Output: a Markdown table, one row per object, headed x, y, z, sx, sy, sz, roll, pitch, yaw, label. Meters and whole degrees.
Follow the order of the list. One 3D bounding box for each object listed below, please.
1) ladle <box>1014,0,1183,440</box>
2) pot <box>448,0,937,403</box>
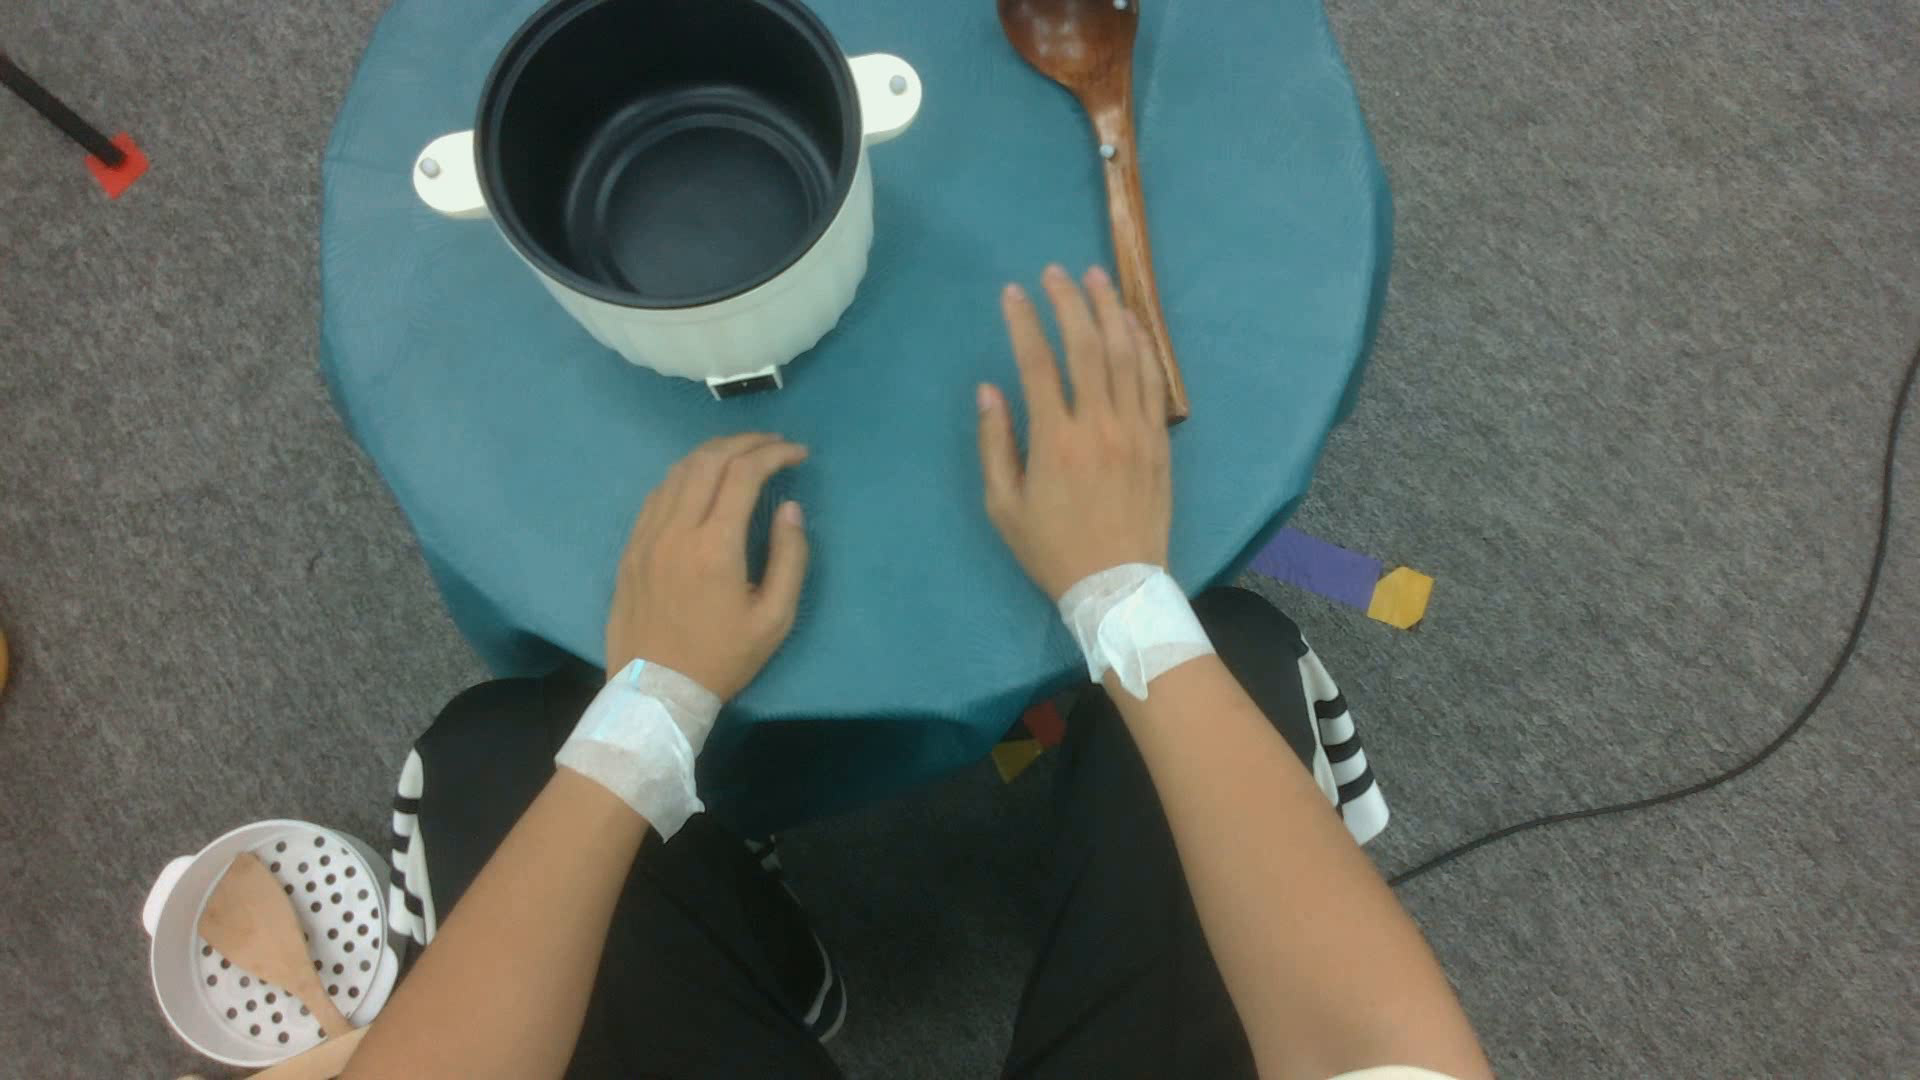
| x | y | z | sx | sy | sz | roll | pitch | yaw | label |
| --- | --- | --- | --- | --- | --- | --- | --- | --- | --- |
| 0.081 | -0.193 | 0.762 | 0.077 | 0.081 | 0.274 | 7 | 73 | -43 | ladle |
| -0.130 | -0.181 | 0.726 | 0.240 | 0.142 | 0.191 | -12 | 79 | -3 | pot |
